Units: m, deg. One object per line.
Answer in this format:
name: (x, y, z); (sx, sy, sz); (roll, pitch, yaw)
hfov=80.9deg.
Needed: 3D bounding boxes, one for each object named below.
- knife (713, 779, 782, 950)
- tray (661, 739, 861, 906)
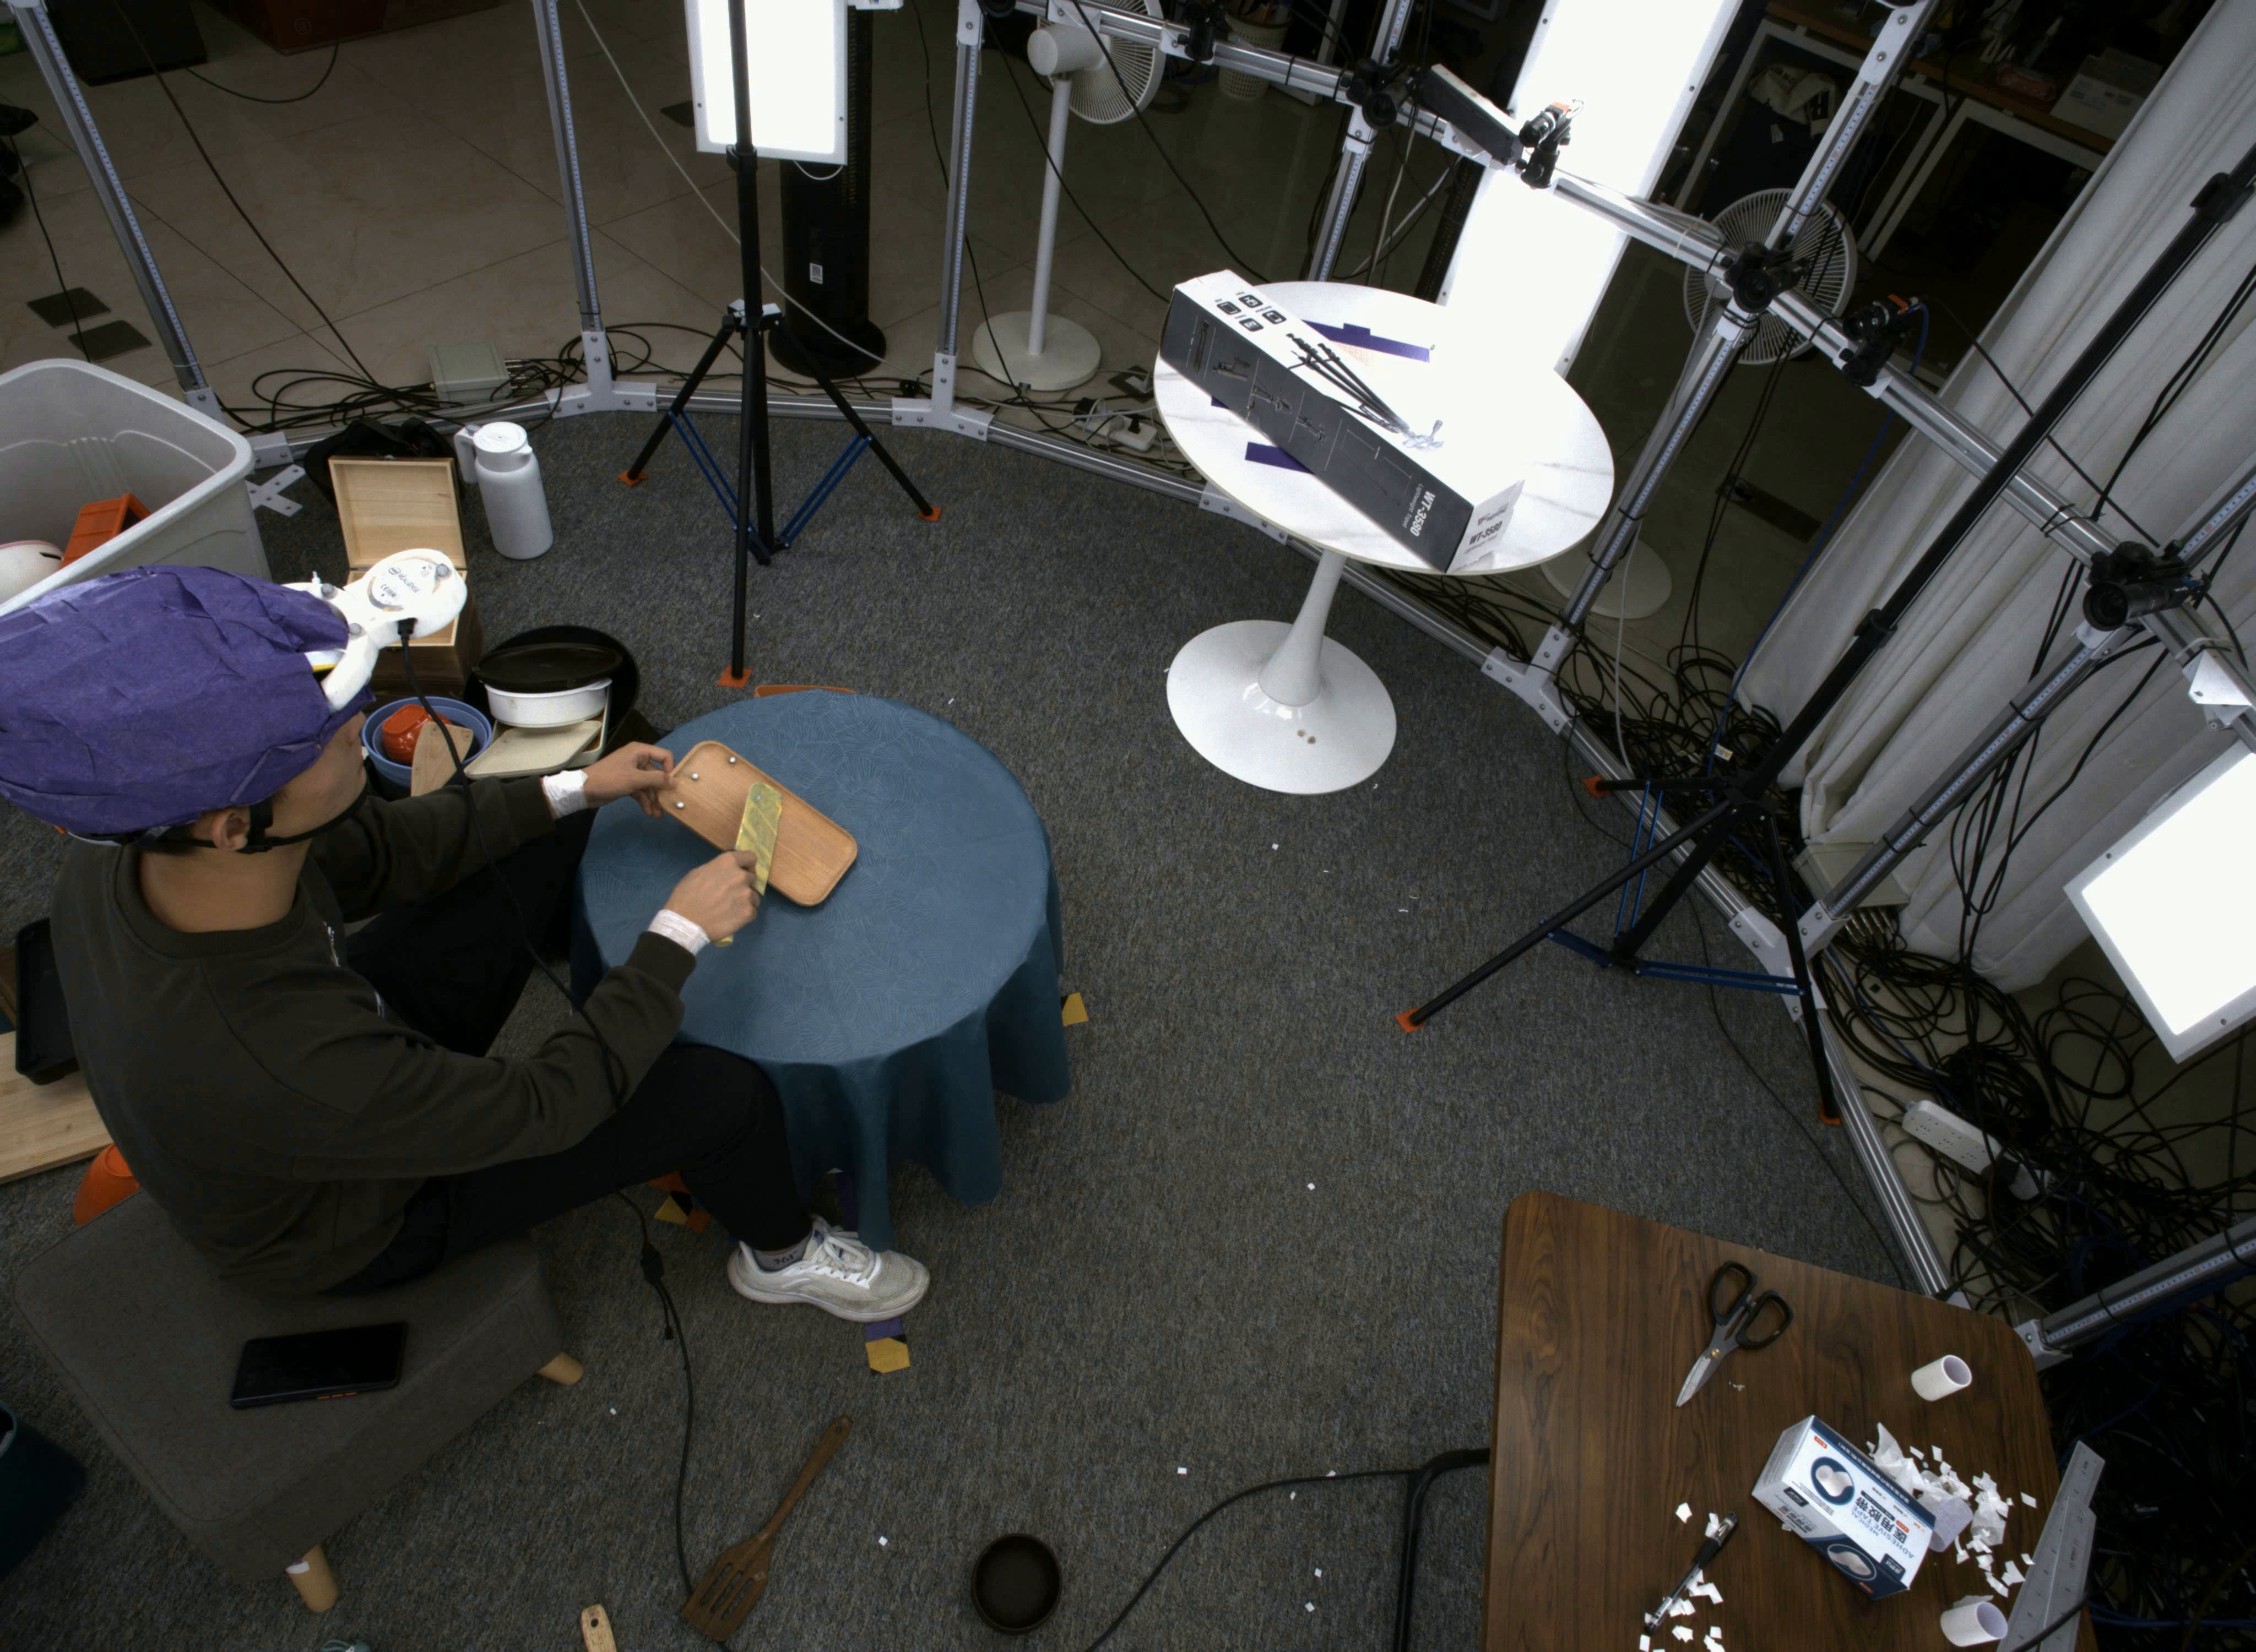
knife: (-0.460, 0.044, 1.579); (0.027, 0.084, 0.283); (-14, 42, 14)
tray: (-0.472, -0.005, 1.669); (0.253, 0.023, 0.130); (37, 54, -11)
